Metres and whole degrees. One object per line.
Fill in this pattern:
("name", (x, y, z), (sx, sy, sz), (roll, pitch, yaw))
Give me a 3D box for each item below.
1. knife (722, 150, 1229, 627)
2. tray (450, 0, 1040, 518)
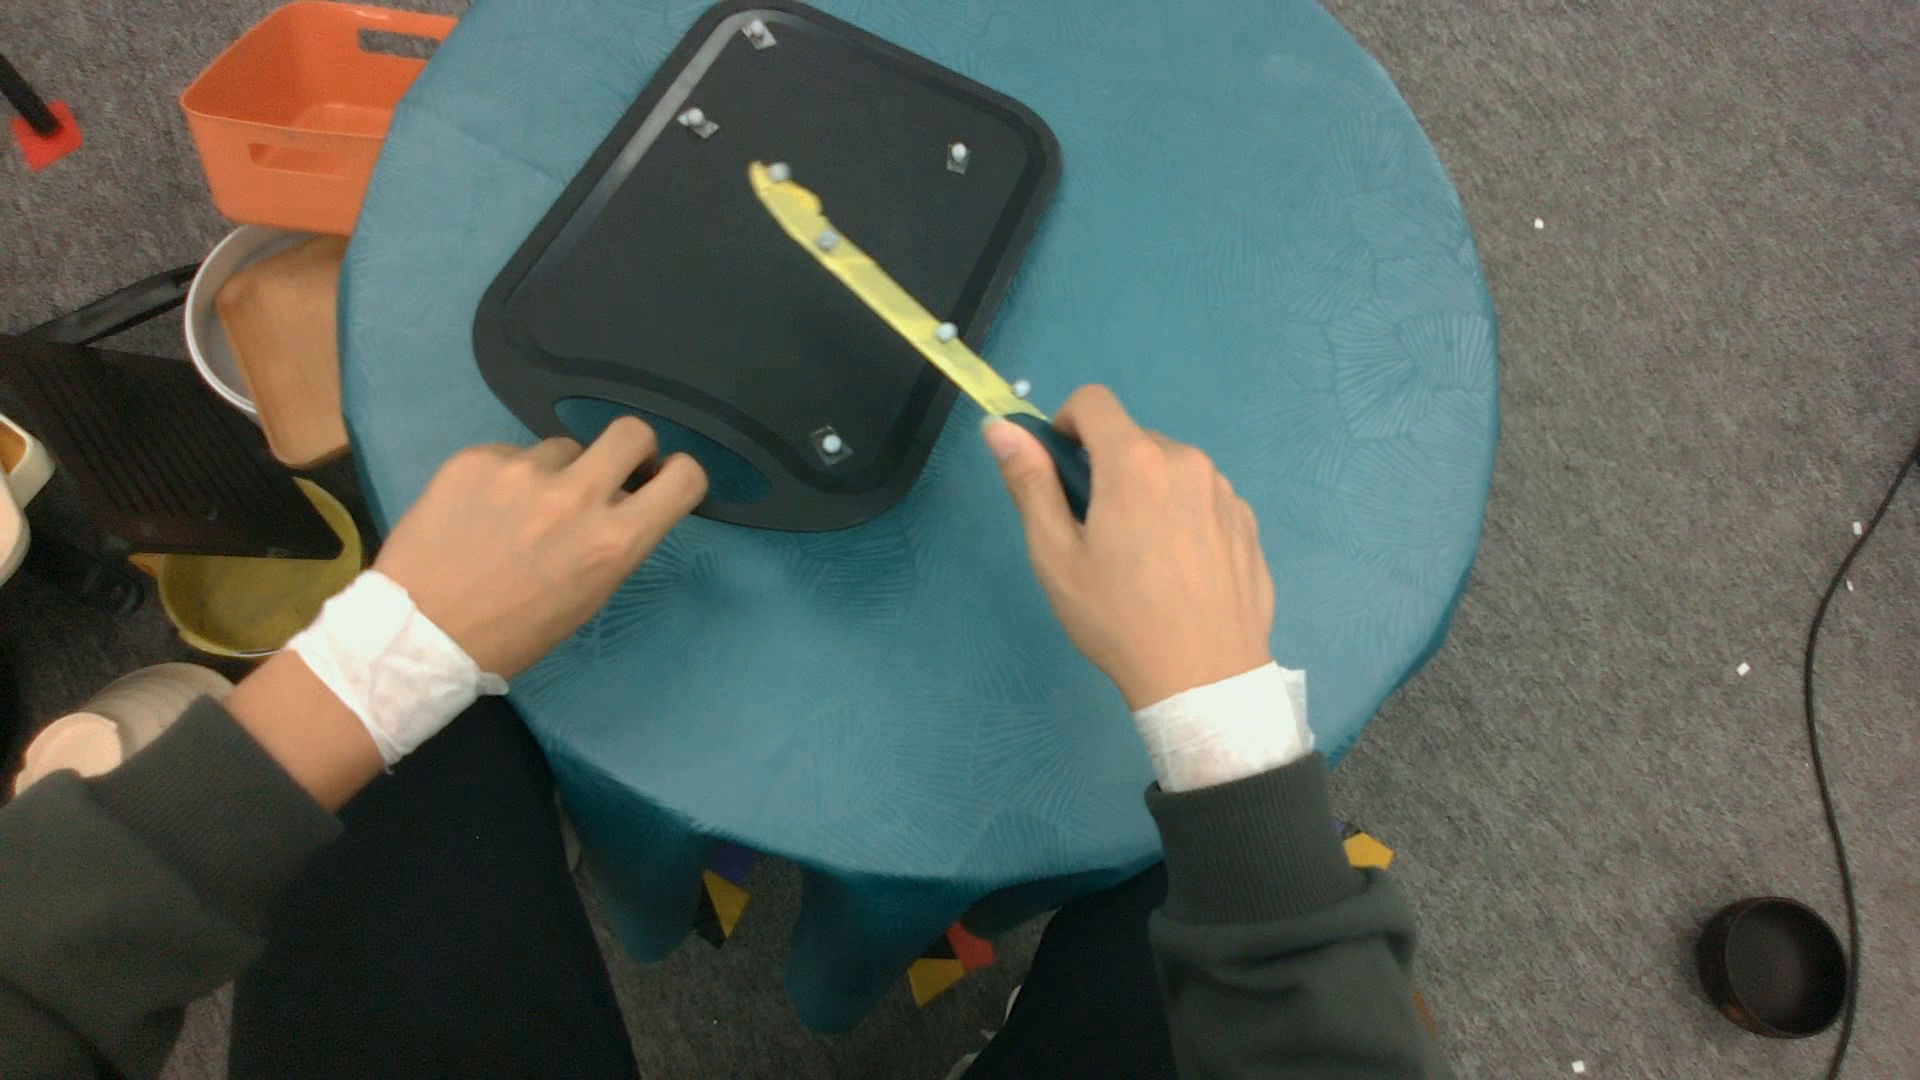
("knife", (0.005, -0.068, 0.586), (0.289, 0.081, 0.027), (43, 107, 1))
("tray", (-0.092, -0.151, 0.669), (0.211, 0.010, 0.327), (24, 56, -1))
